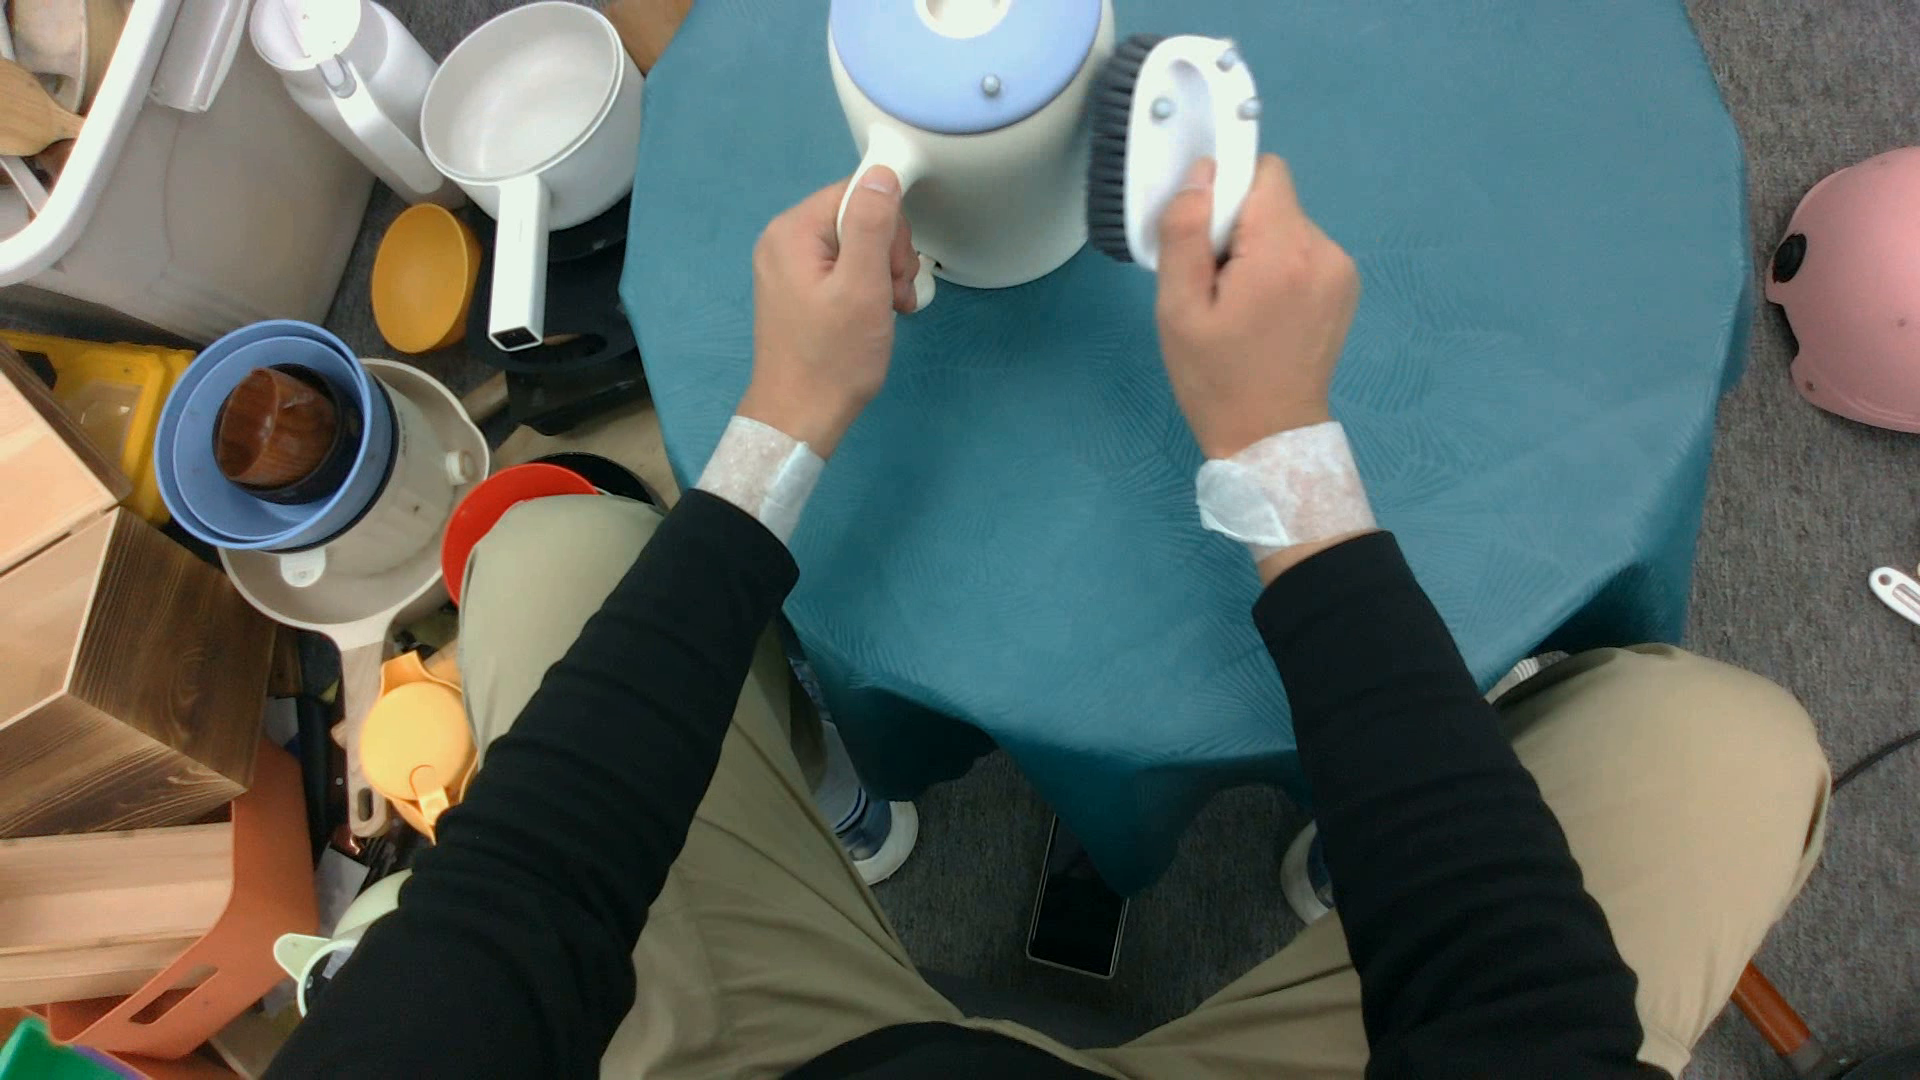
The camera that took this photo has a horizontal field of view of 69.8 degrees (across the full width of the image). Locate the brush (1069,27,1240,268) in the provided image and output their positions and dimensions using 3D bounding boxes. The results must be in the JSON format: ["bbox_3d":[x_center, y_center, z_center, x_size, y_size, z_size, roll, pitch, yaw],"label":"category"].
[{"bbox_3d":[0.088,-0.165,0.589,0.050,0.072,0.099,-13,117,-32],"label":"brush"}]

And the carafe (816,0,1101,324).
[{"bbox_3d":[-0.008,-0.198,0.677,0.132,0.182,0.191,28,84,10],"label":"carafe"}]
